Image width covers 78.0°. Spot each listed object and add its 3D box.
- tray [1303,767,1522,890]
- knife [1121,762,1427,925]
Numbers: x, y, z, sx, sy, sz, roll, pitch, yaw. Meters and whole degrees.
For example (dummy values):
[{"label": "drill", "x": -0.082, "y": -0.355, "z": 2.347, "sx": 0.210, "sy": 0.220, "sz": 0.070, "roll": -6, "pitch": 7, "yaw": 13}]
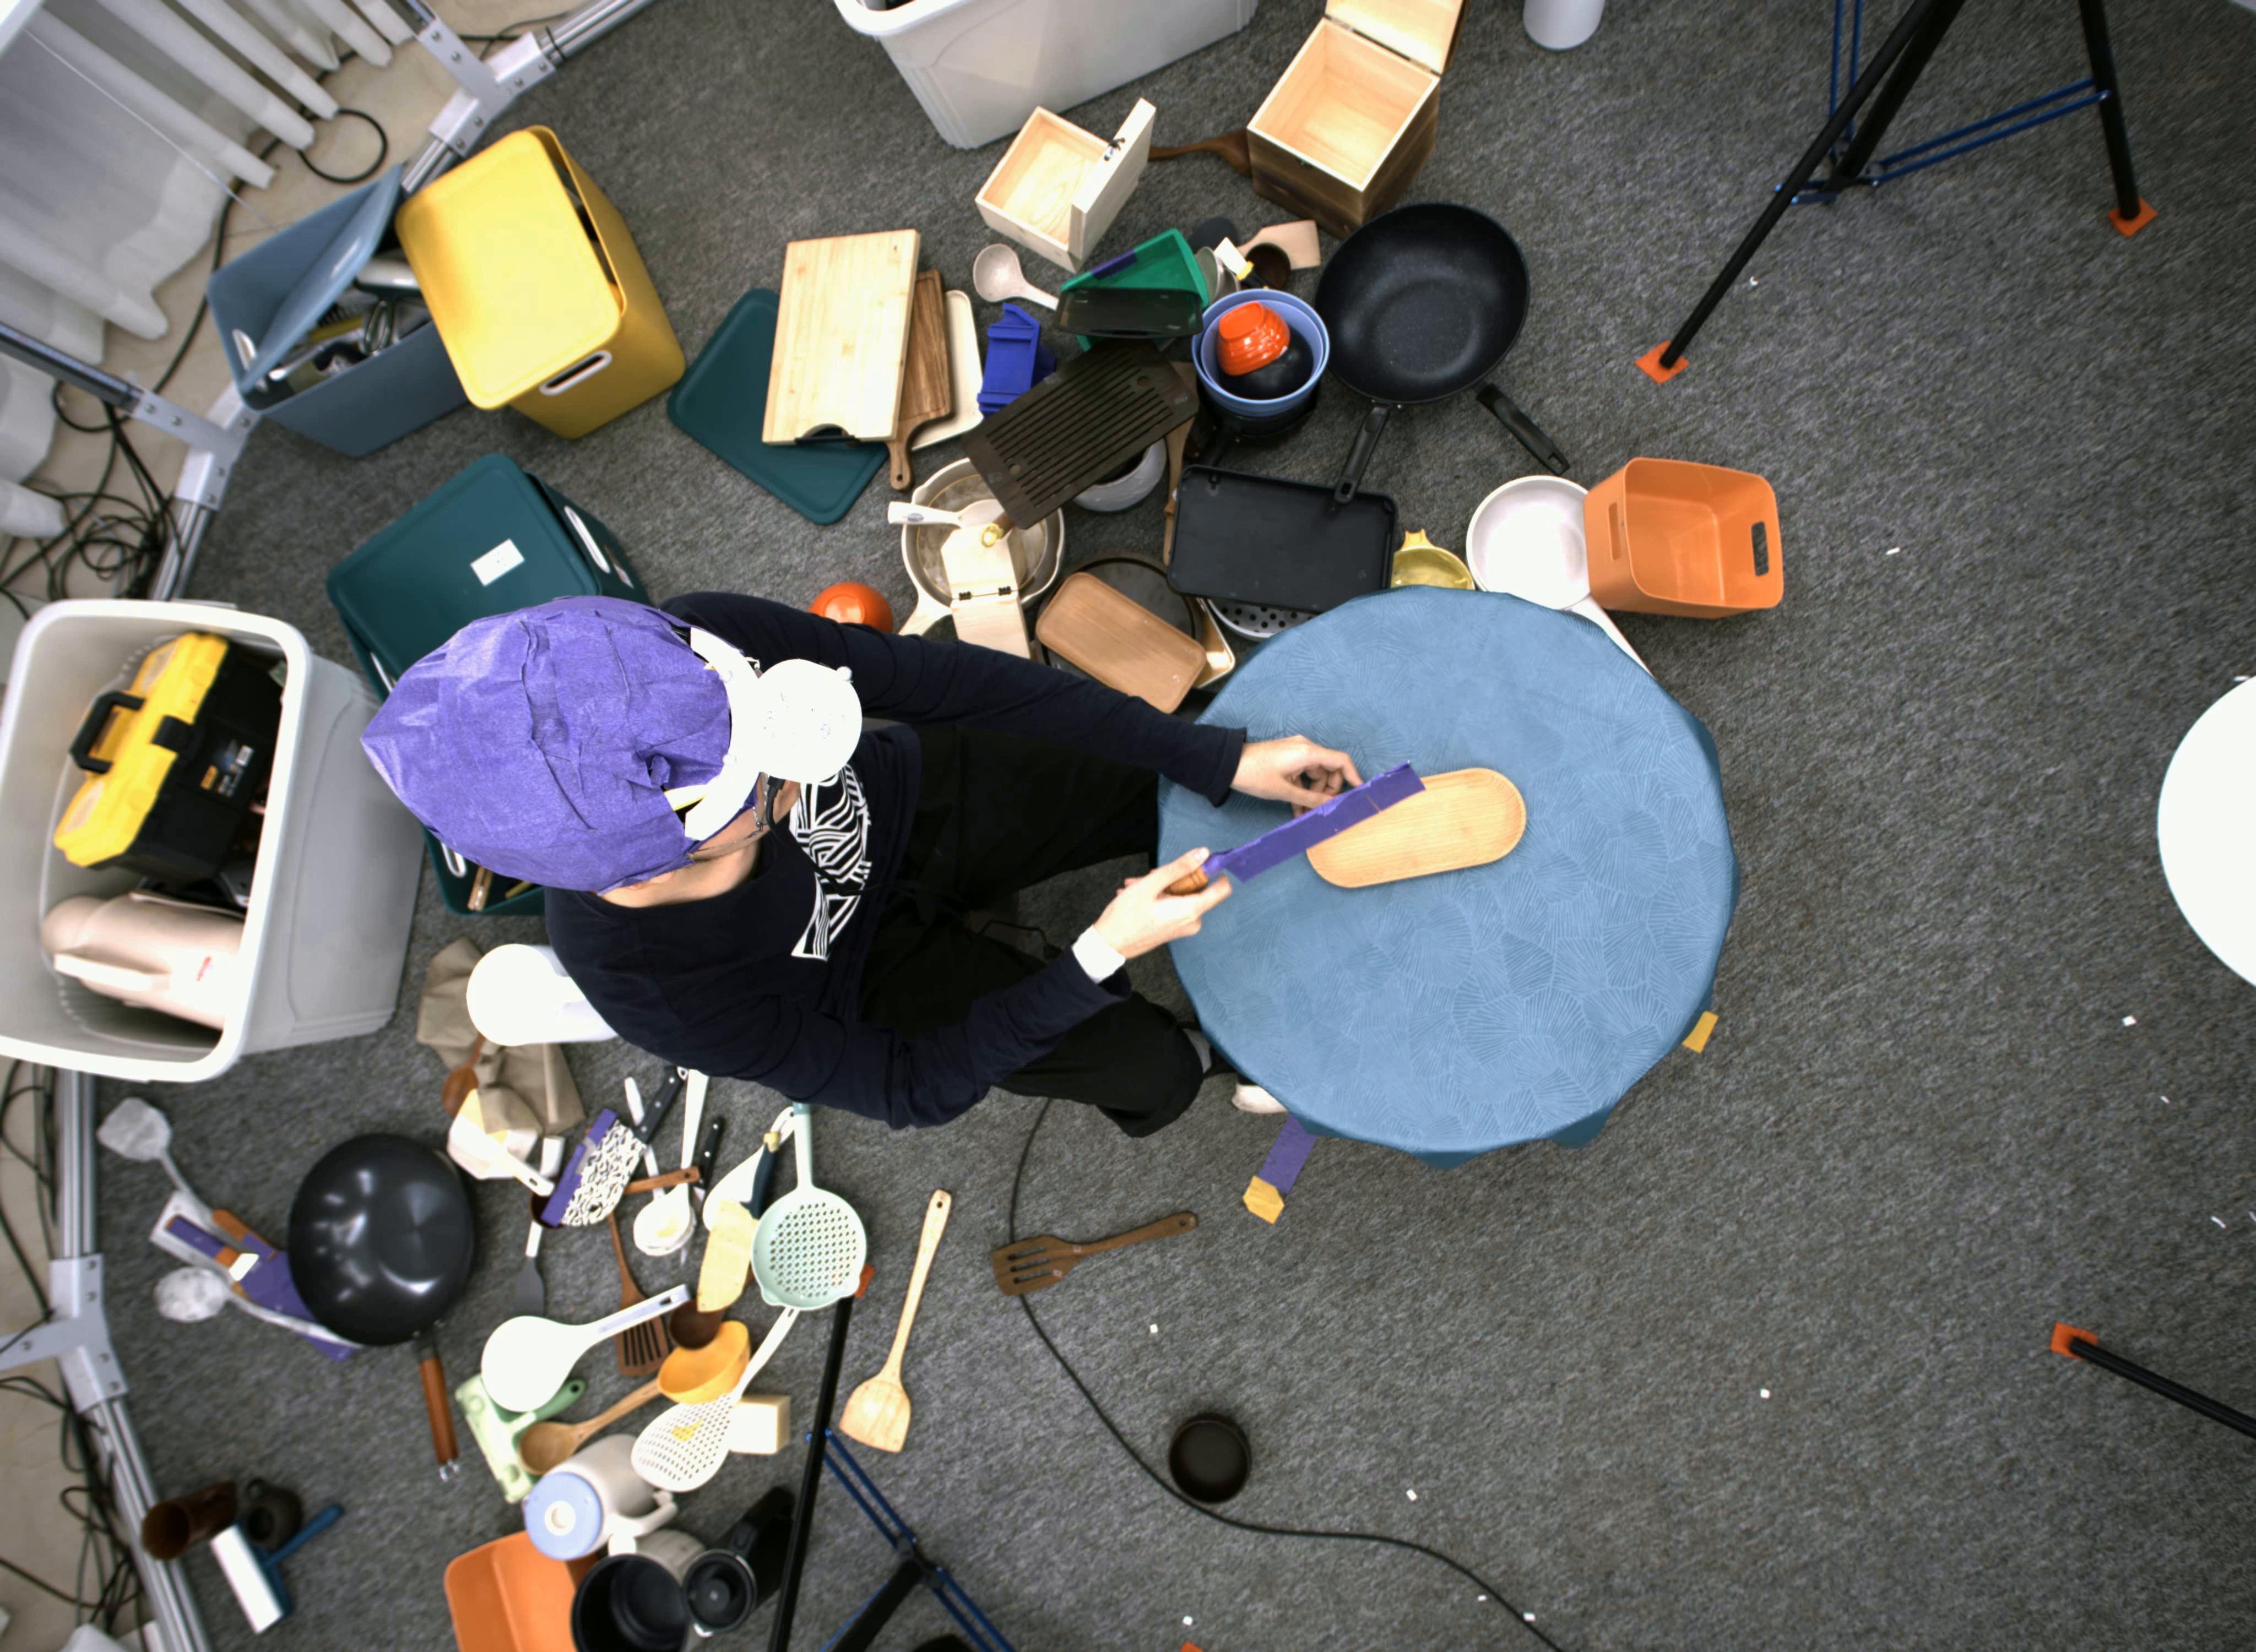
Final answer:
[{"label": "tray", "x": 0.297, "y": 0.002, "z": 1.448, "sx": 0.232, "sy": 0.020, "sz": 0.101, "roll": -13, "pitch": 86, "yaw": 11}, {"label": "knife", "x": 0.147, "y": 0.026, "z": 1.359, "sx": 0.318, "sy": 0.104, "sz": 0.031, "roll": -26, "pitch": 64, "yaw": 15}]
